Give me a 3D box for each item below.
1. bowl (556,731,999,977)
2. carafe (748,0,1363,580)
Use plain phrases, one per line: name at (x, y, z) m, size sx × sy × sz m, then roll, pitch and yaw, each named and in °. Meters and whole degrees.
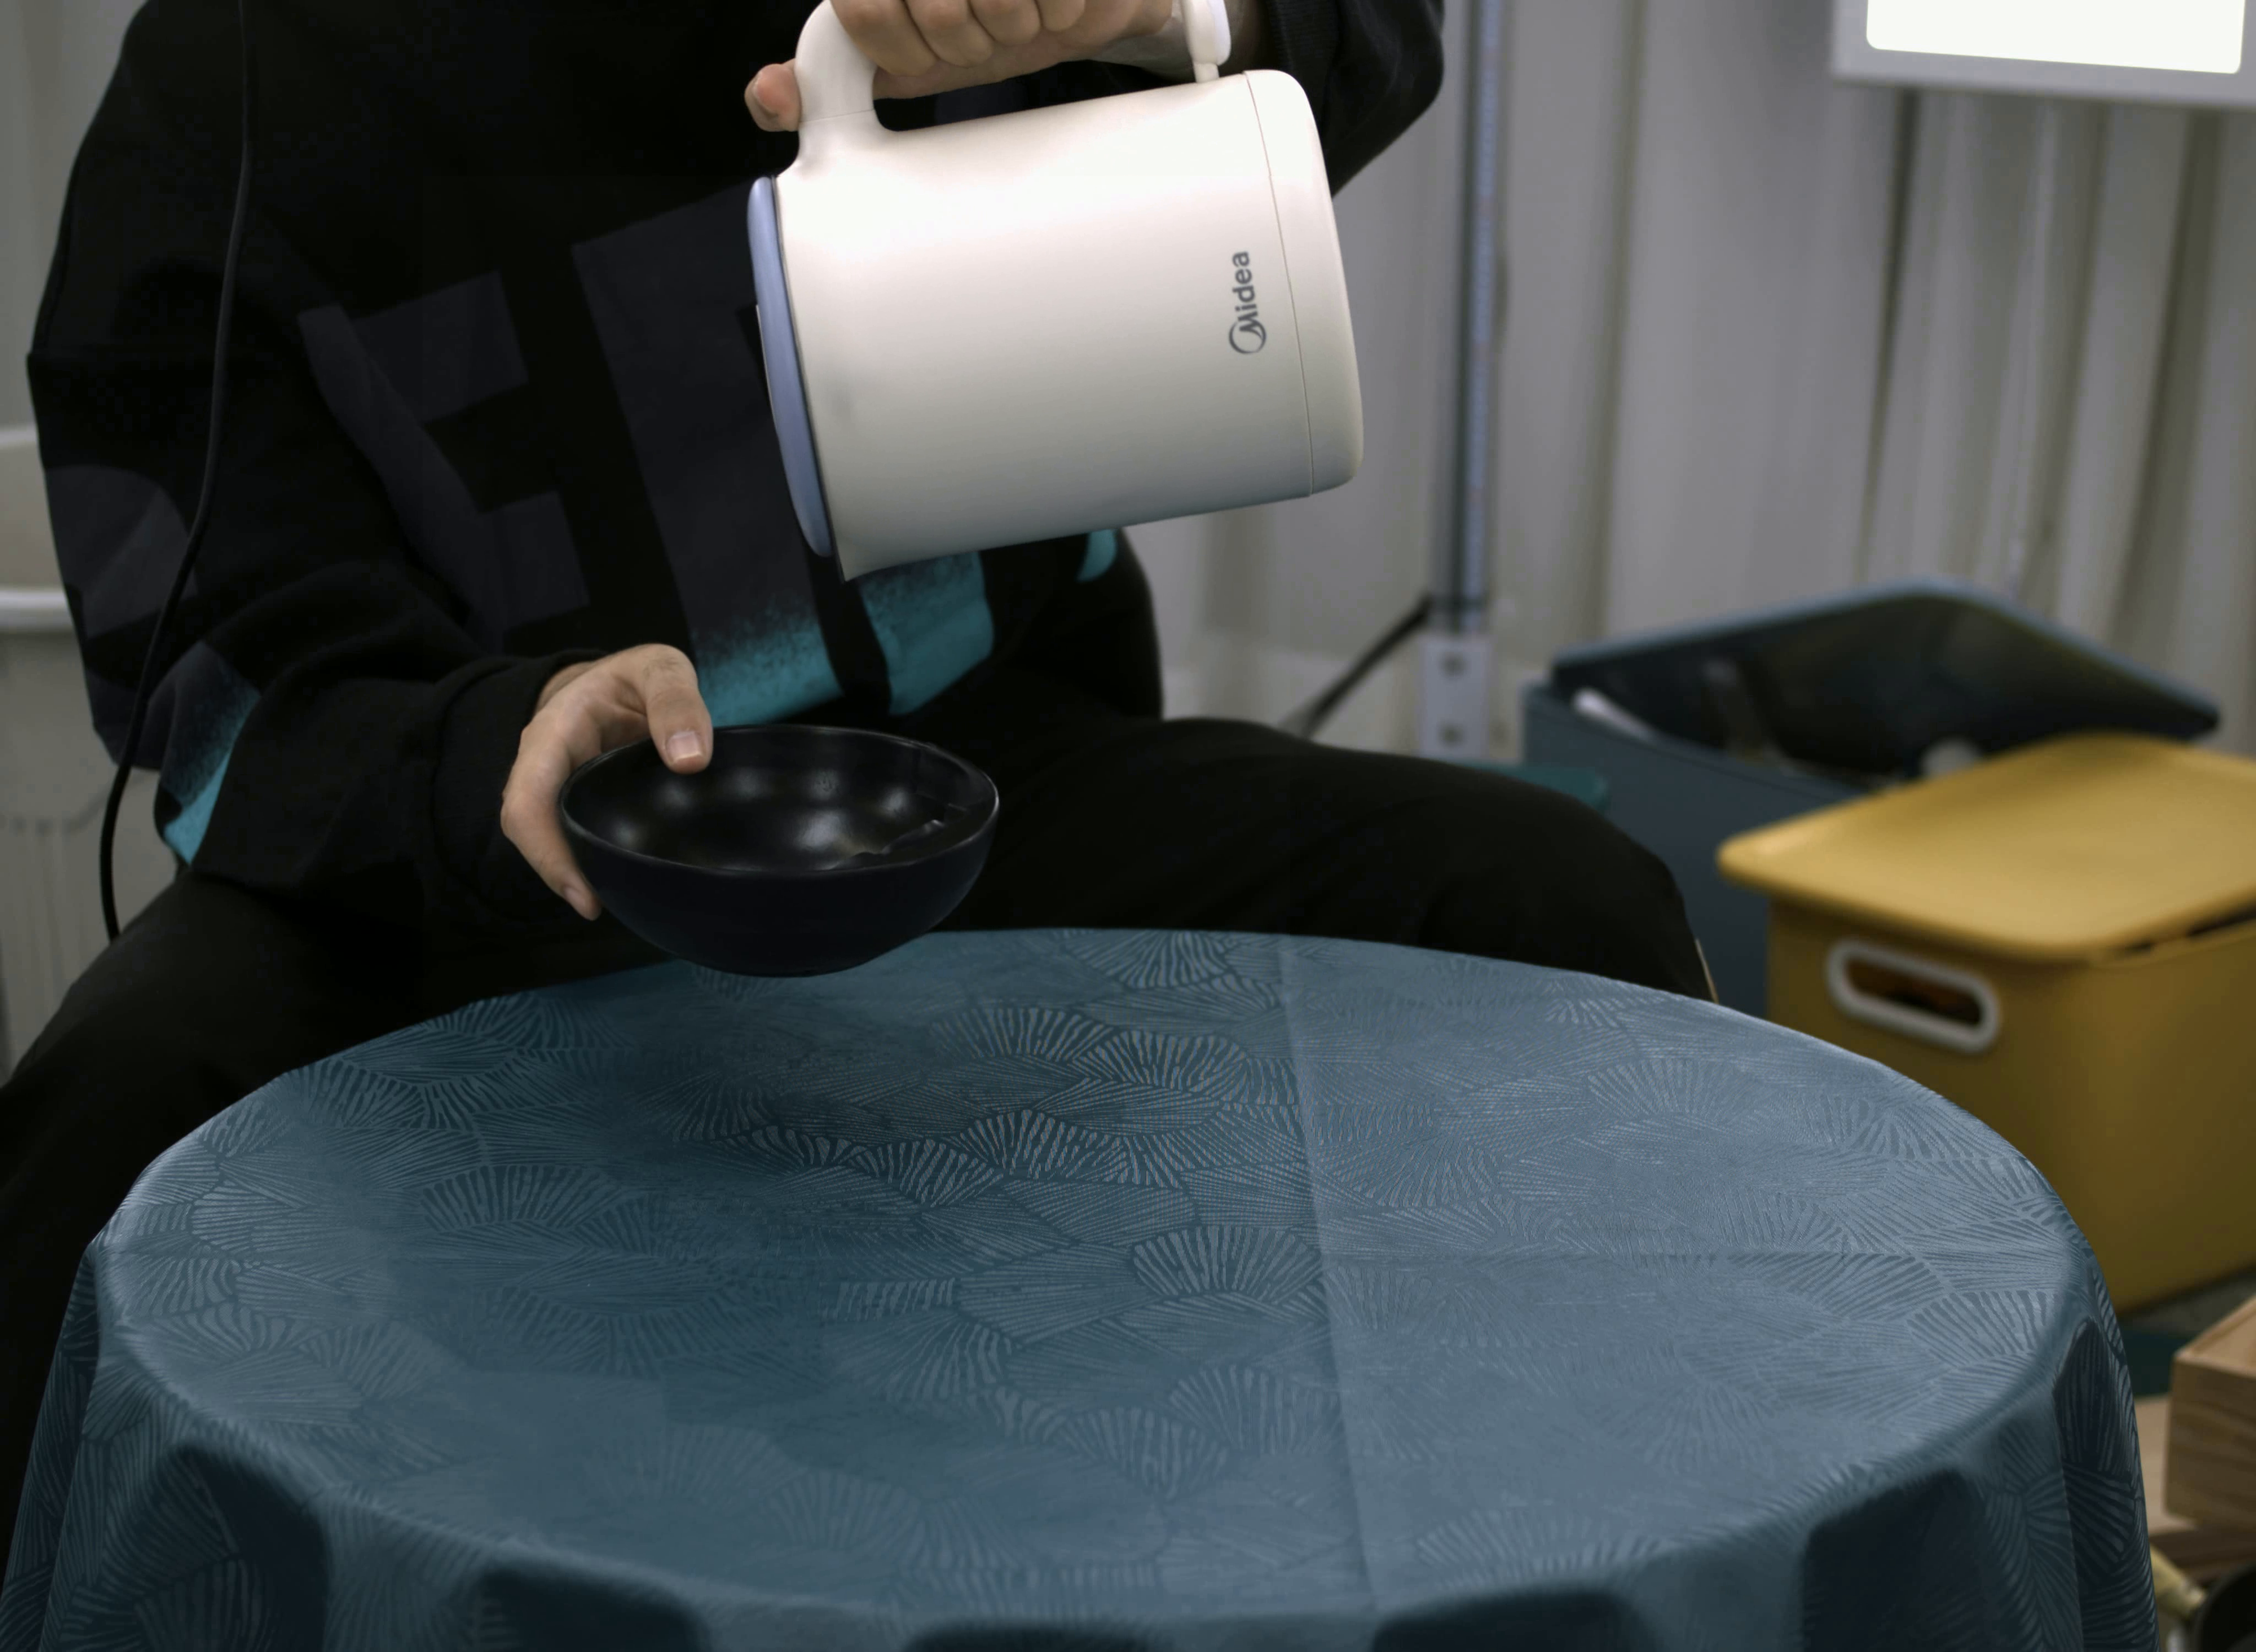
bowl at (-0.109, 0.013, 1.652) m, size 0.139 × 0.050 × 0.139 m, roll 2°, pitch 18°, yaw 0°
carafe at (-0.024, -0.179, 1.607) m, size 0.182 × 0.192 × 0.131 m, roll -7°, pitch 8°, yaw -3°
